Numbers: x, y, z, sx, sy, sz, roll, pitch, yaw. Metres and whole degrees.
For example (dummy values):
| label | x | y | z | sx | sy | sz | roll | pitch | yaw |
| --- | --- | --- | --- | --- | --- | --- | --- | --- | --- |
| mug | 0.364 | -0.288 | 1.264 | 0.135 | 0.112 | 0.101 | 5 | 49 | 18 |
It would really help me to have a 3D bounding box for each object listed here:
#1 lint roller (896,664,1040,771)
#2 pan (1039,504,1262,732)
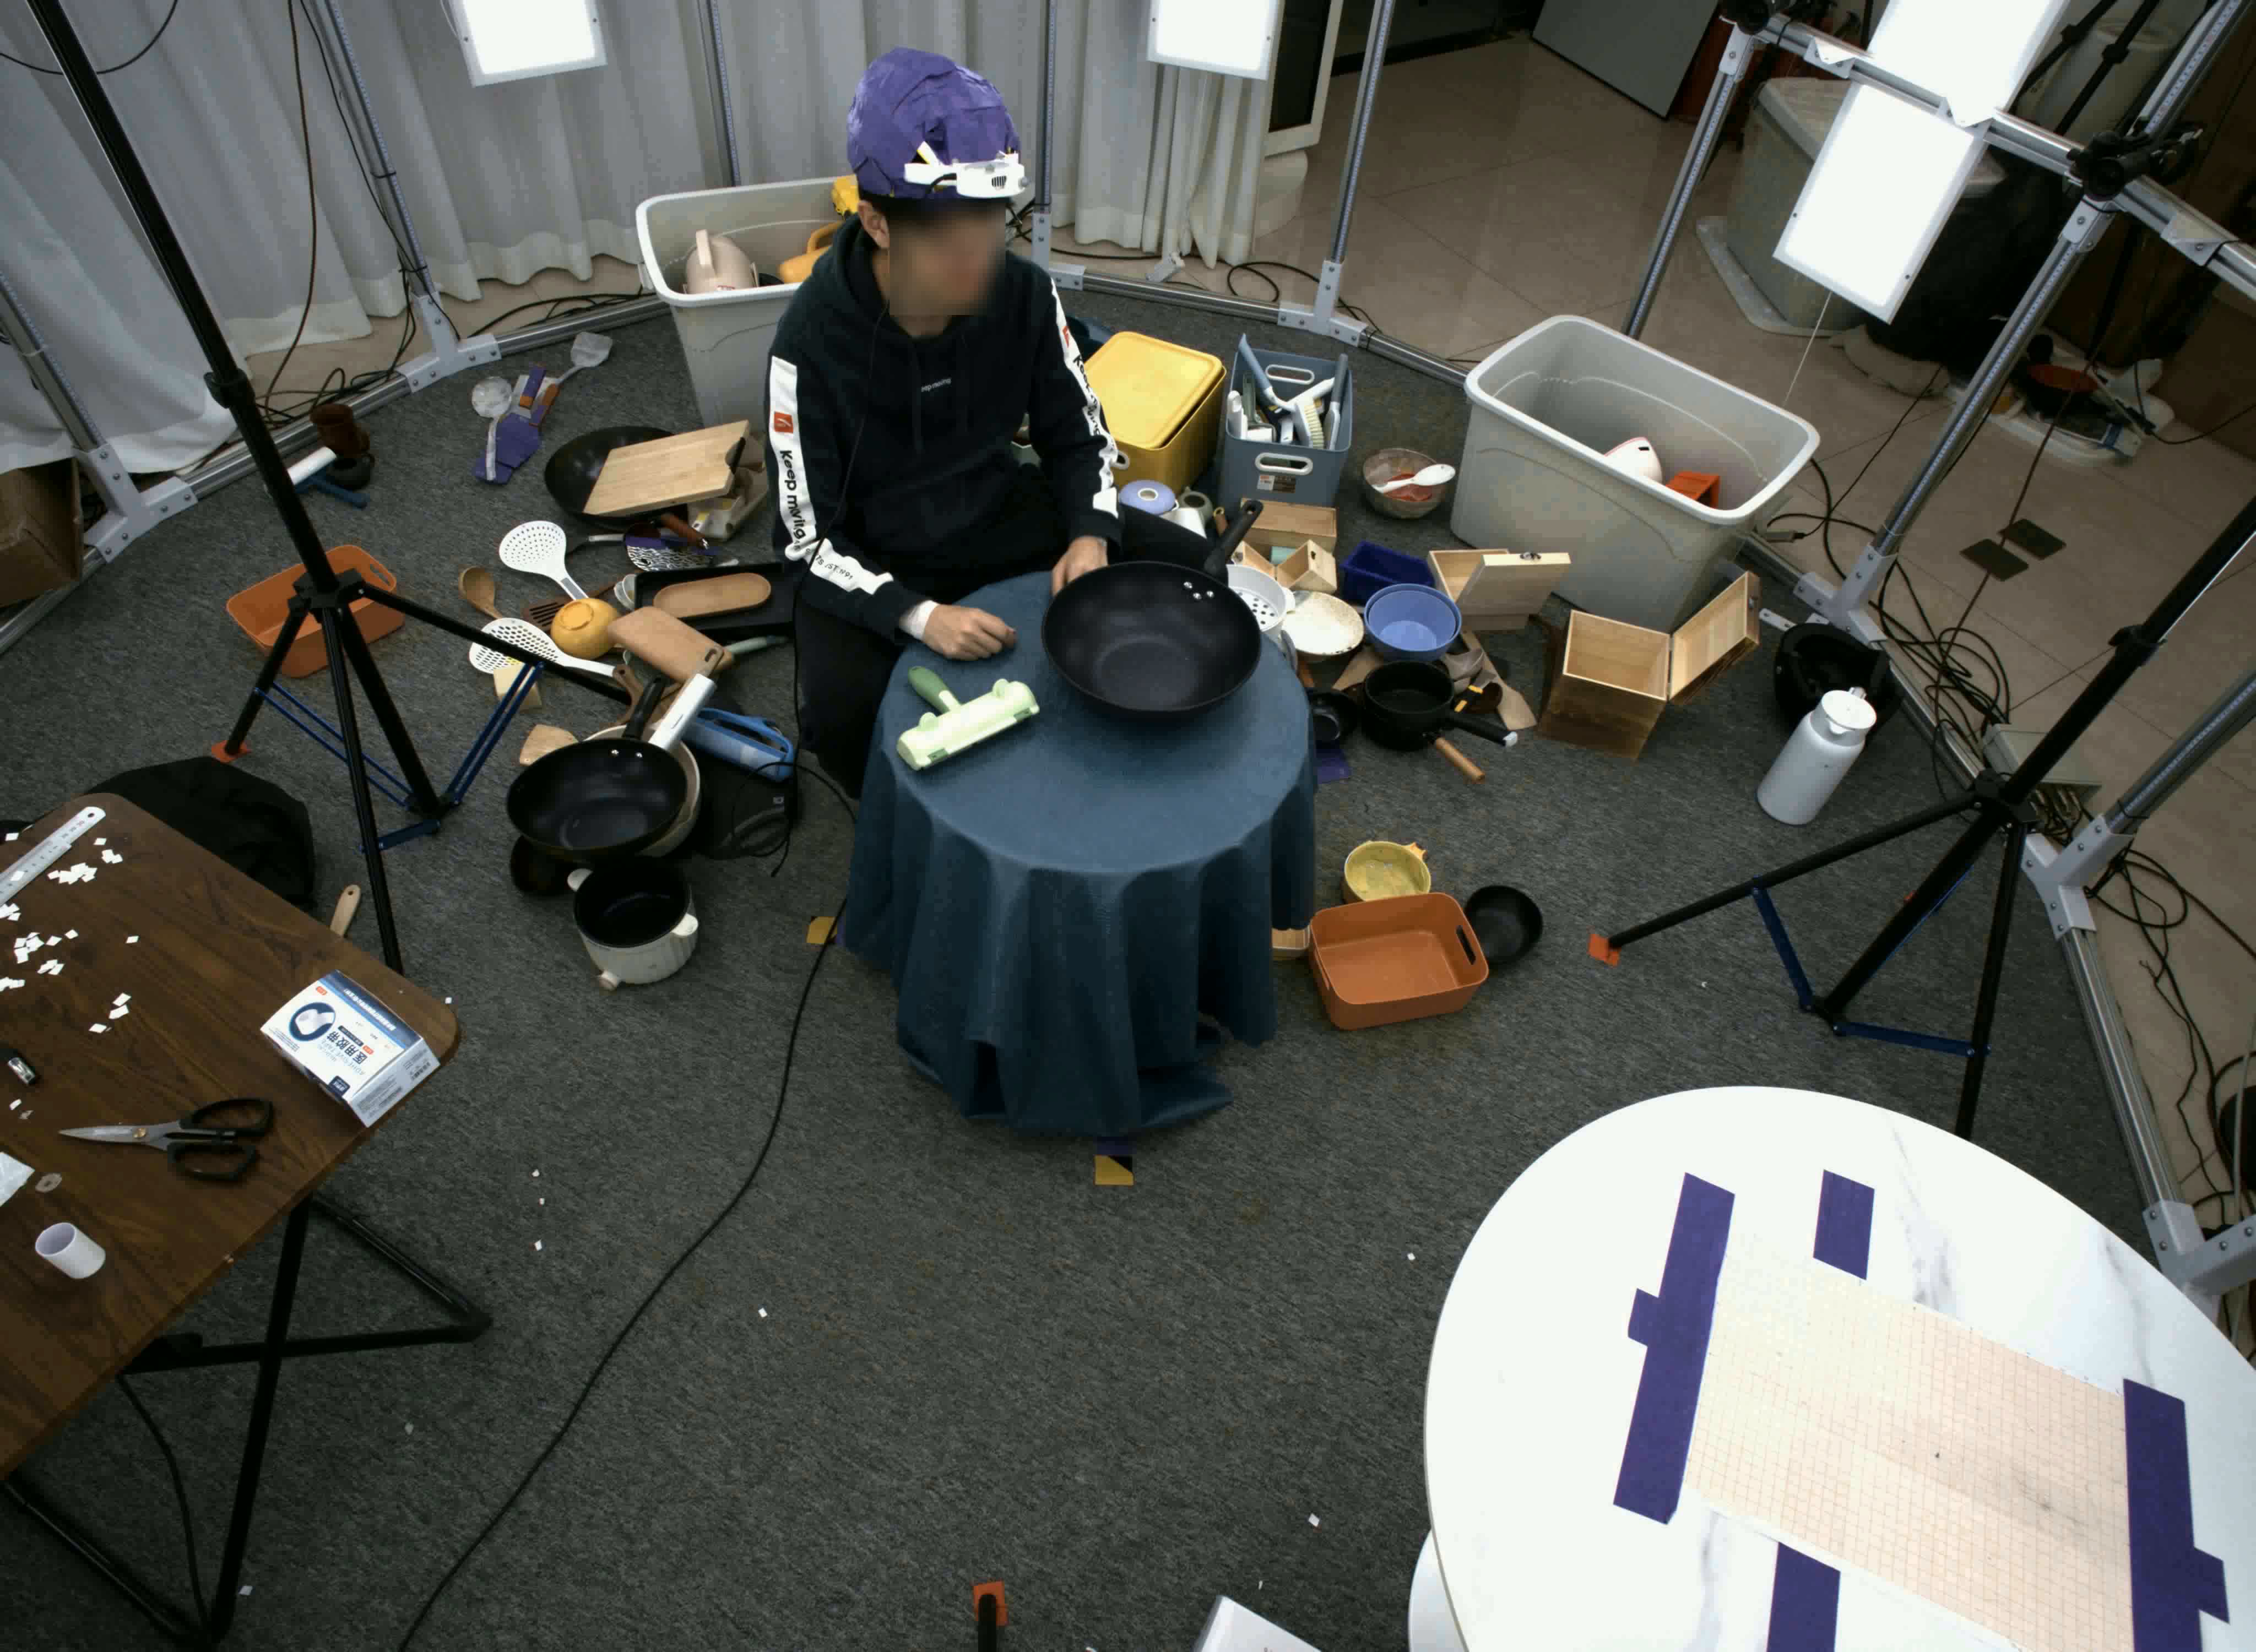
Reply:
| label | x | y | z | sx | sy | sz | roll | pitch | yaw |
| --- | --- | --- | --- | --- | --- | --- | --- | --- | --- |
| lint roller | -0.248 | -0.179 | 1.759 | 0.199 | 0.080 | 0.186 | -28 | 62 | -25 |
| pan | 0.071 | -0.300 | 1.865 | 0.312 | 0.109 | 0.484 | 26 | 53 | 16 |
